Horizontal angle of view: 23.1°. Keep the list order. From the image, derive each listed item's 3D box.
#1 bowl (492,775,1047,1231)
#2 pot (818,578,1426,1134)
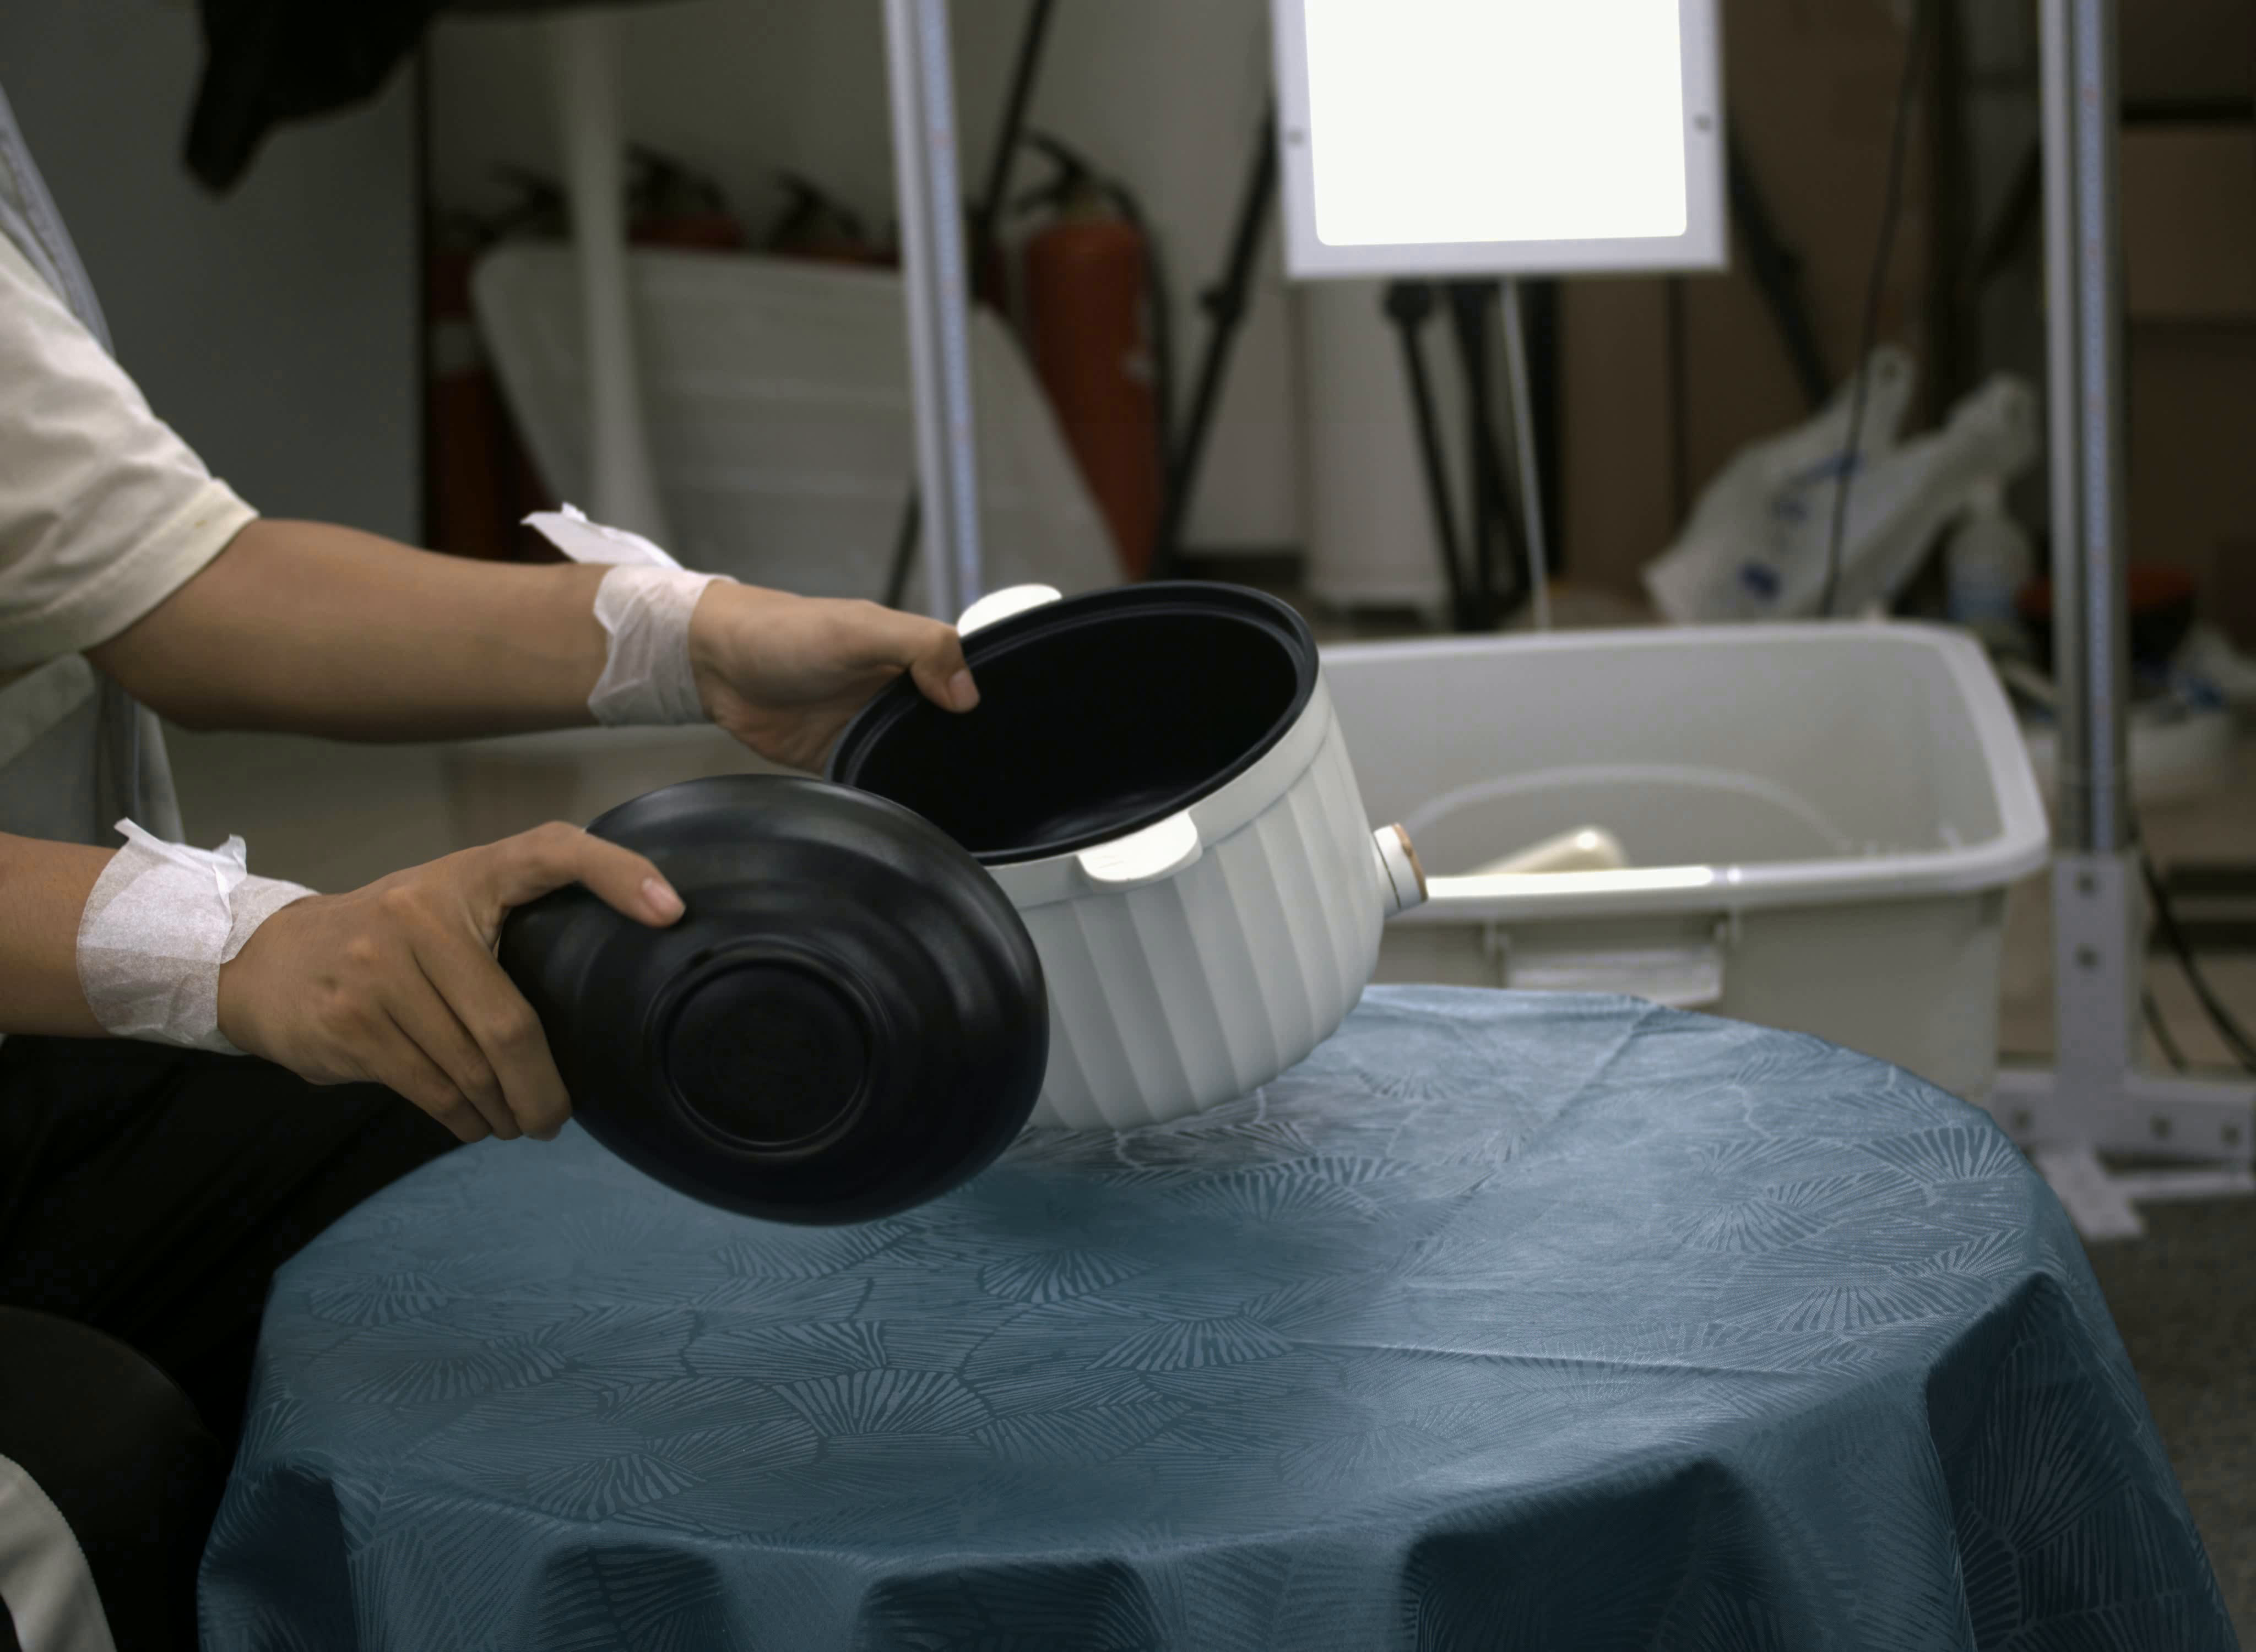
[{"bbox_3d":[-0.105,0.058,1.635,0.169,0.138,0.066,21,15,-6],"label":"bowl"},{"bbox_3d":[0.002,0.014,1.950,0.190,0.142,0.242,-25,29,-2],"label":"pot"}]
